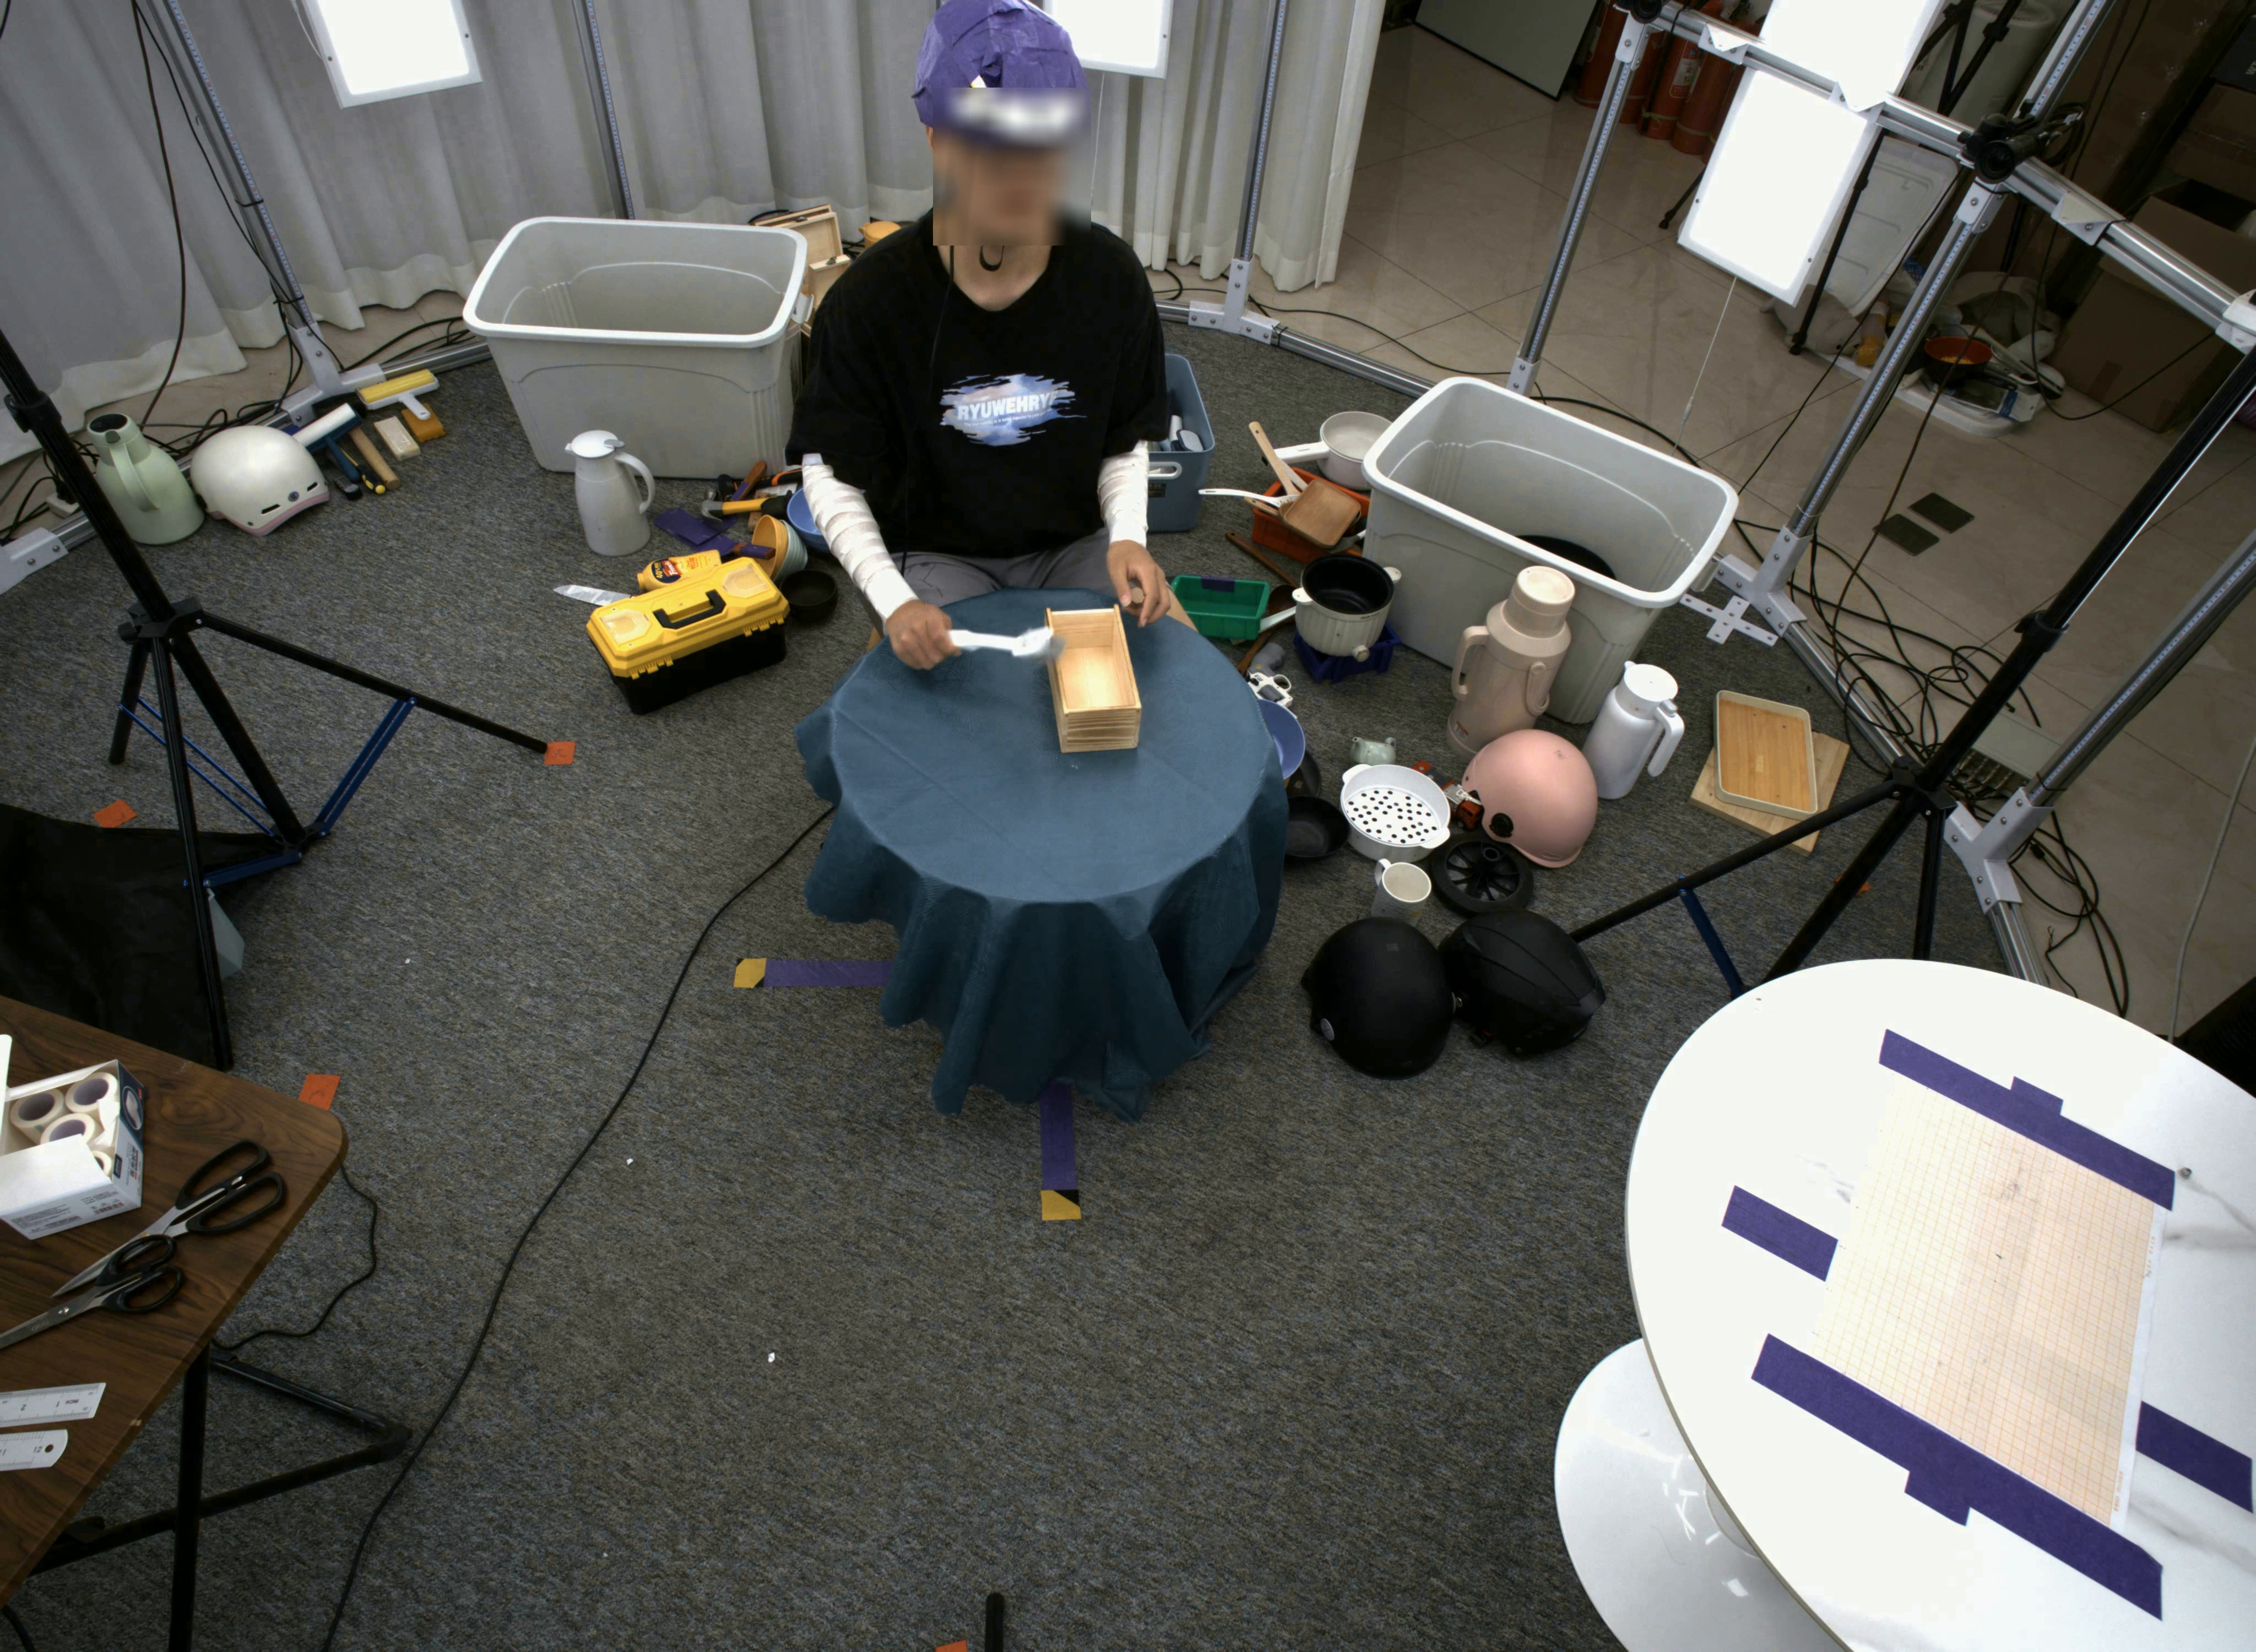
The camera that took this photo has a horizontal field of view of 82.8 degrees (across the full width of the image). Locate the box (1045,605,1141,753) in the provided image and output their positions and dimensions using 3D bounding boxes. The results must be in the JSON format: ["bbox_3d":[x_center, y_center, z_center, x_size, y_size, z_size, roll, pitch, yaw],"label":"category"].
[{"bbox_3d":[-0.052,-0.209,1.799,0.107,0.078,0.217,-5,49,-7],"label":"box"}]

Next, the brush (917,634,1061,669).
[{"bbox_3d":[-0.189,-0.238,1.743,0.245,0.049,0.035,8,76,39],"label":"brush"}]
